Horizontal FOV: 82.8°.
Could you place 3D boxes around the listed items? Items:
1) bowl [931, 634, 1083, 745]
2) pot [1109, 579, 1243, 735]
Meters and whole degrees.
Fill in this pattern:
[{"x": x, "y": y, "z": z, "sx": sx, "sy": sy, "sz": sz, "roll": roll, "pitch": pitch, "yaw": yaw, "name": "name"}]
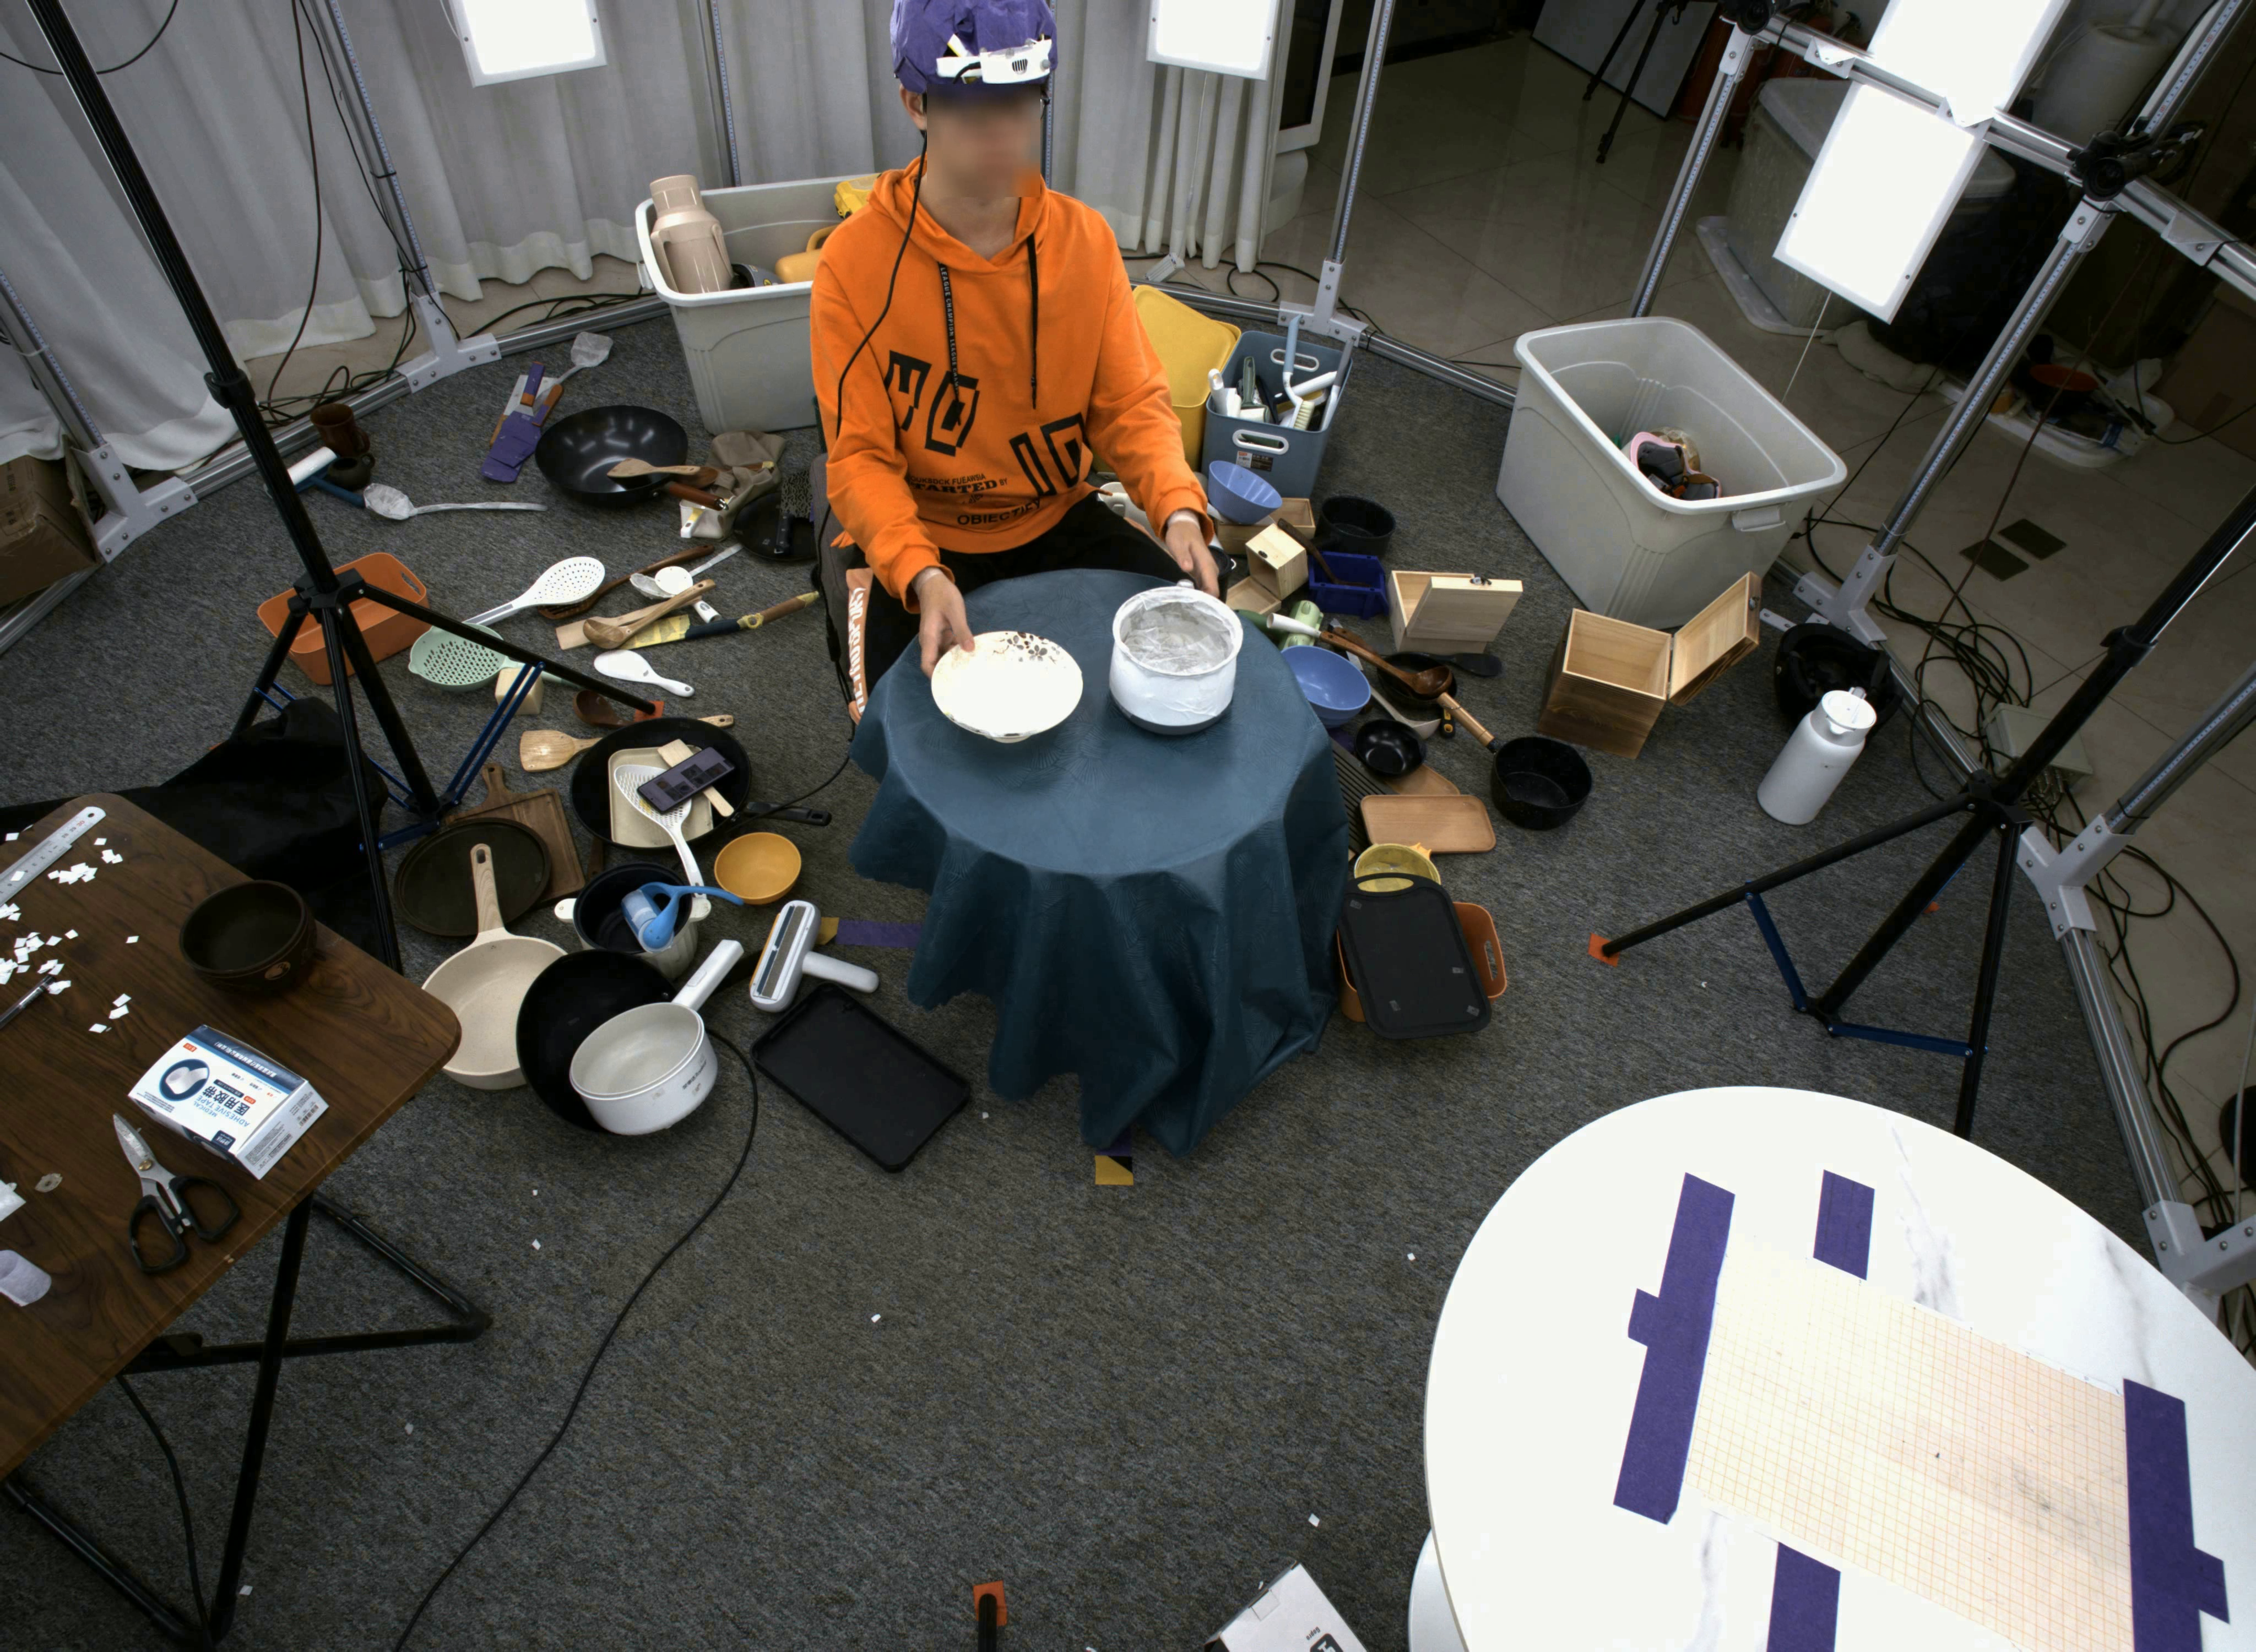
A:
[{"x": -0.164, "y": -0.168, "z": 1.756, "sx": 0.204, "sy": 0.076, "sz": 0.209, "roll": 1, "pitch": 47, "yaw": -2, "name": "bowl"}, {"x": 0.067, "y": -0.246, "z": 1.798, "sx": 0.178, "sy": 0.133, "sz": 0.239, "roll": 7, "pitch": 49, "yaw": 1, "name": "pot"}]
